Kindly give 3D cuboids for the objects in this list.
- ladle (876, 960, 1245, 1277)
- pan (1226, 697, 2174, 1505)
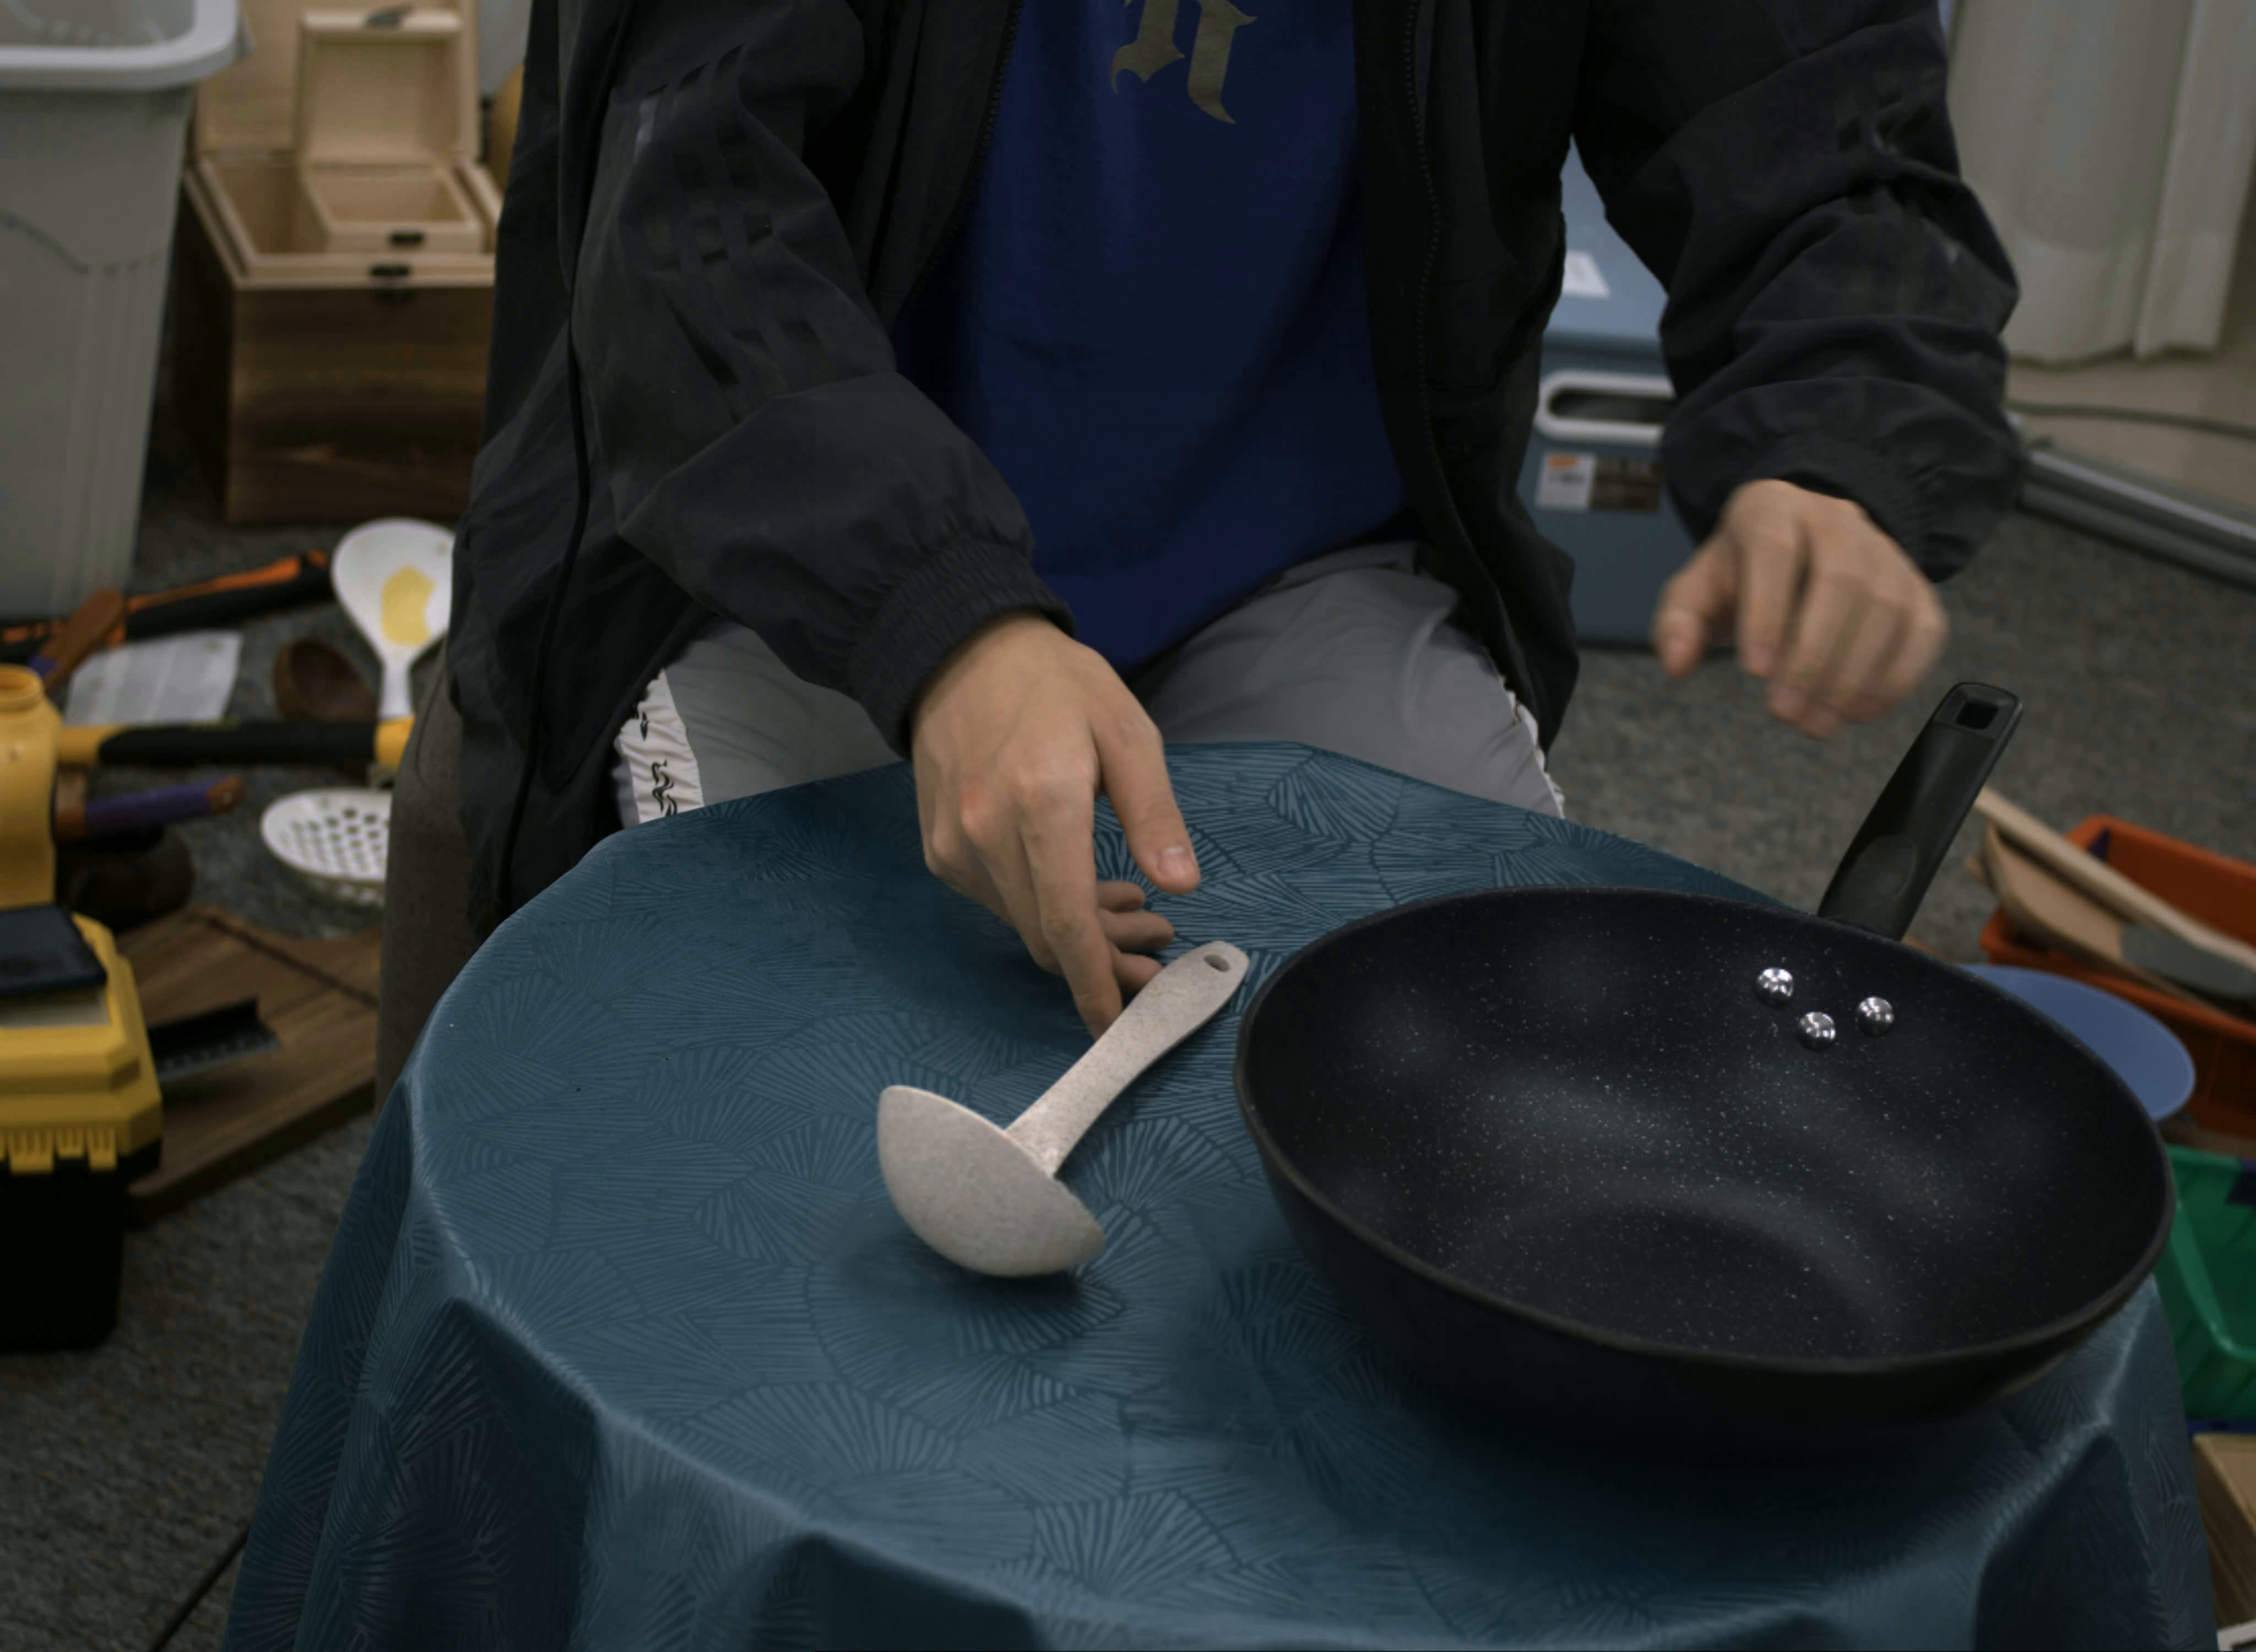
[{"bbox_3d":[-0.003,0.075,1.826,0.089,0.069,0.275,30,30,11],"label":"ladle"},{"bbox_3d":[0.216,0.091,1.801,0.311,0.111,0.477,18,29,19],"label":"pan"}]
